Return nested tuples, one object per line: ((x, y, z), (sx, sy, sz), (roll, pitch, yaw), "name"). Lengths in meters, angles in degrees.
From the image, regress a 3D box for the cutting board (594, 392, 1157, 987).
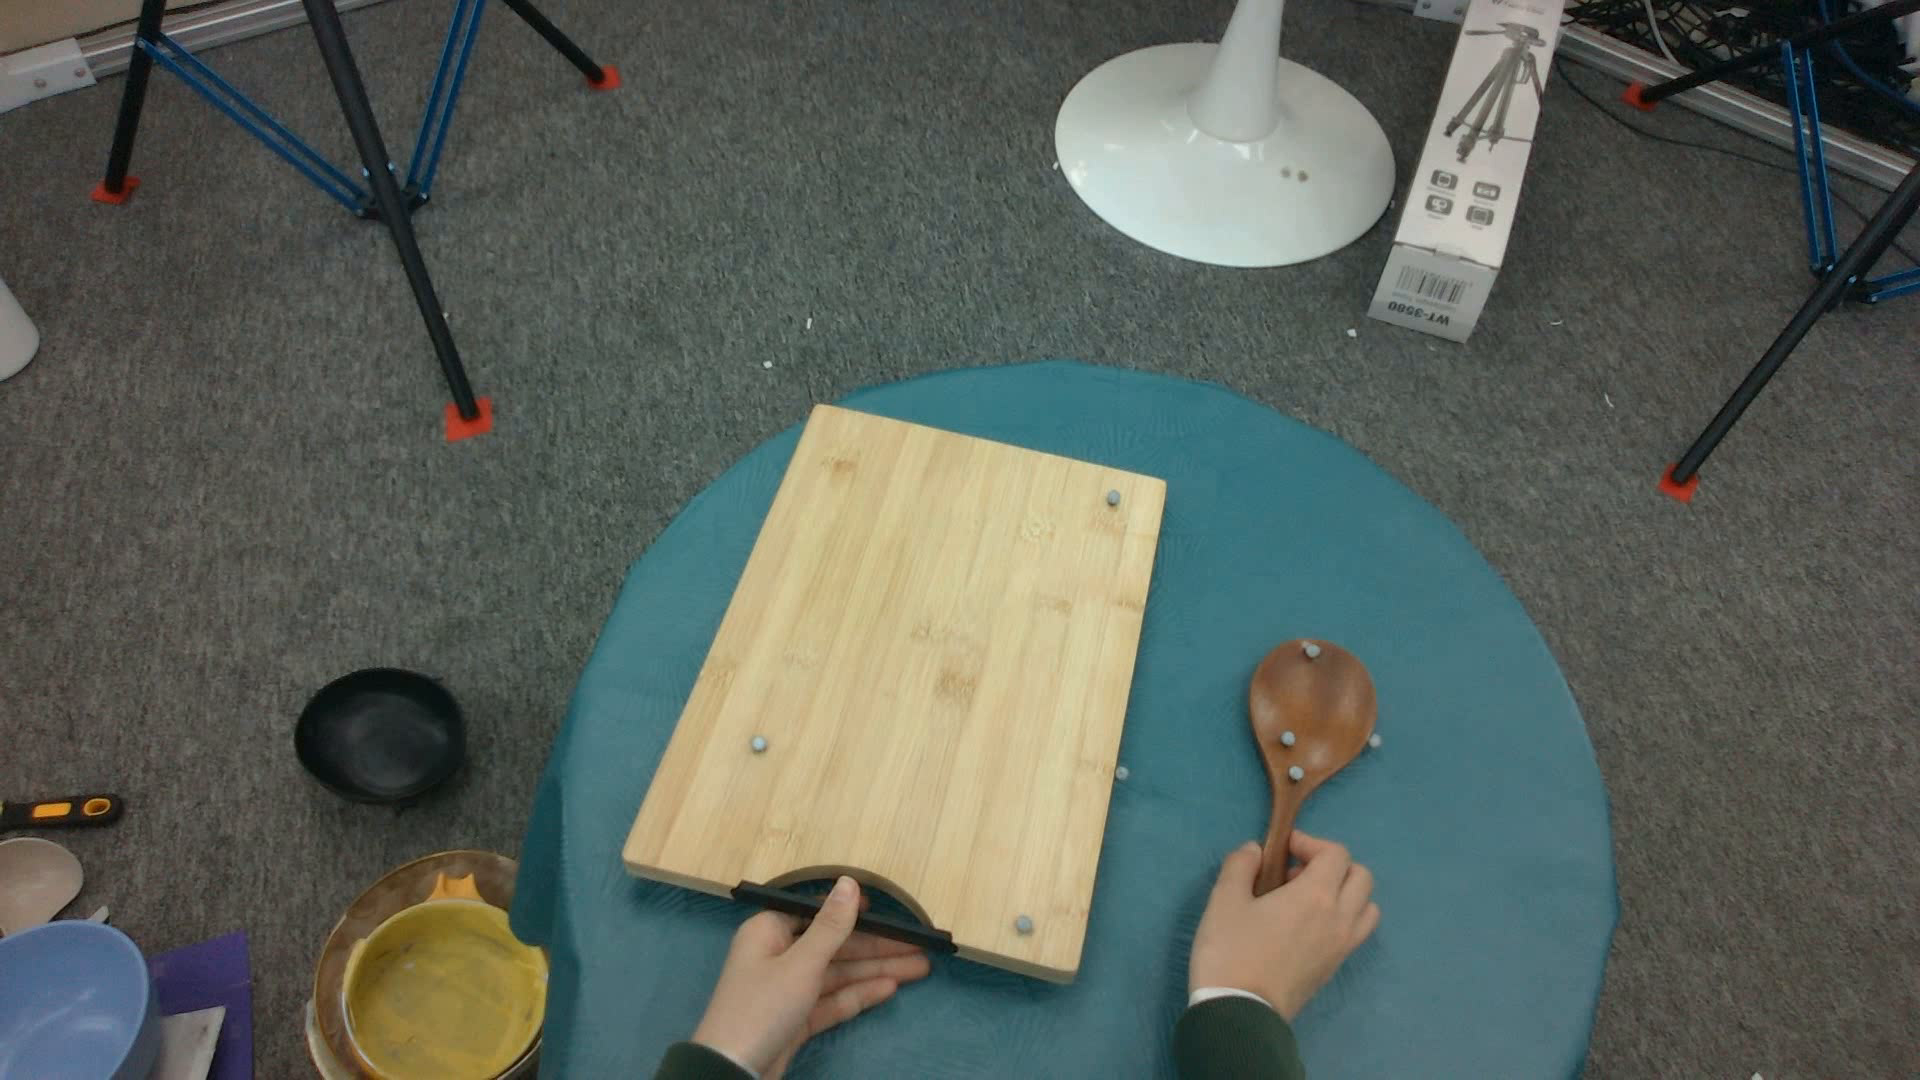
((-0.029, 0.064, 0.802), (0.250, 0.023, 0.350), (12, 51, 4), "cutting board")

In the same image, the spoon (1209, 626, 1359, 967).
((0.176, 0.139, 0.777), (0.075, 0.017, 0.217), (20, 55, 7), "spoon")
